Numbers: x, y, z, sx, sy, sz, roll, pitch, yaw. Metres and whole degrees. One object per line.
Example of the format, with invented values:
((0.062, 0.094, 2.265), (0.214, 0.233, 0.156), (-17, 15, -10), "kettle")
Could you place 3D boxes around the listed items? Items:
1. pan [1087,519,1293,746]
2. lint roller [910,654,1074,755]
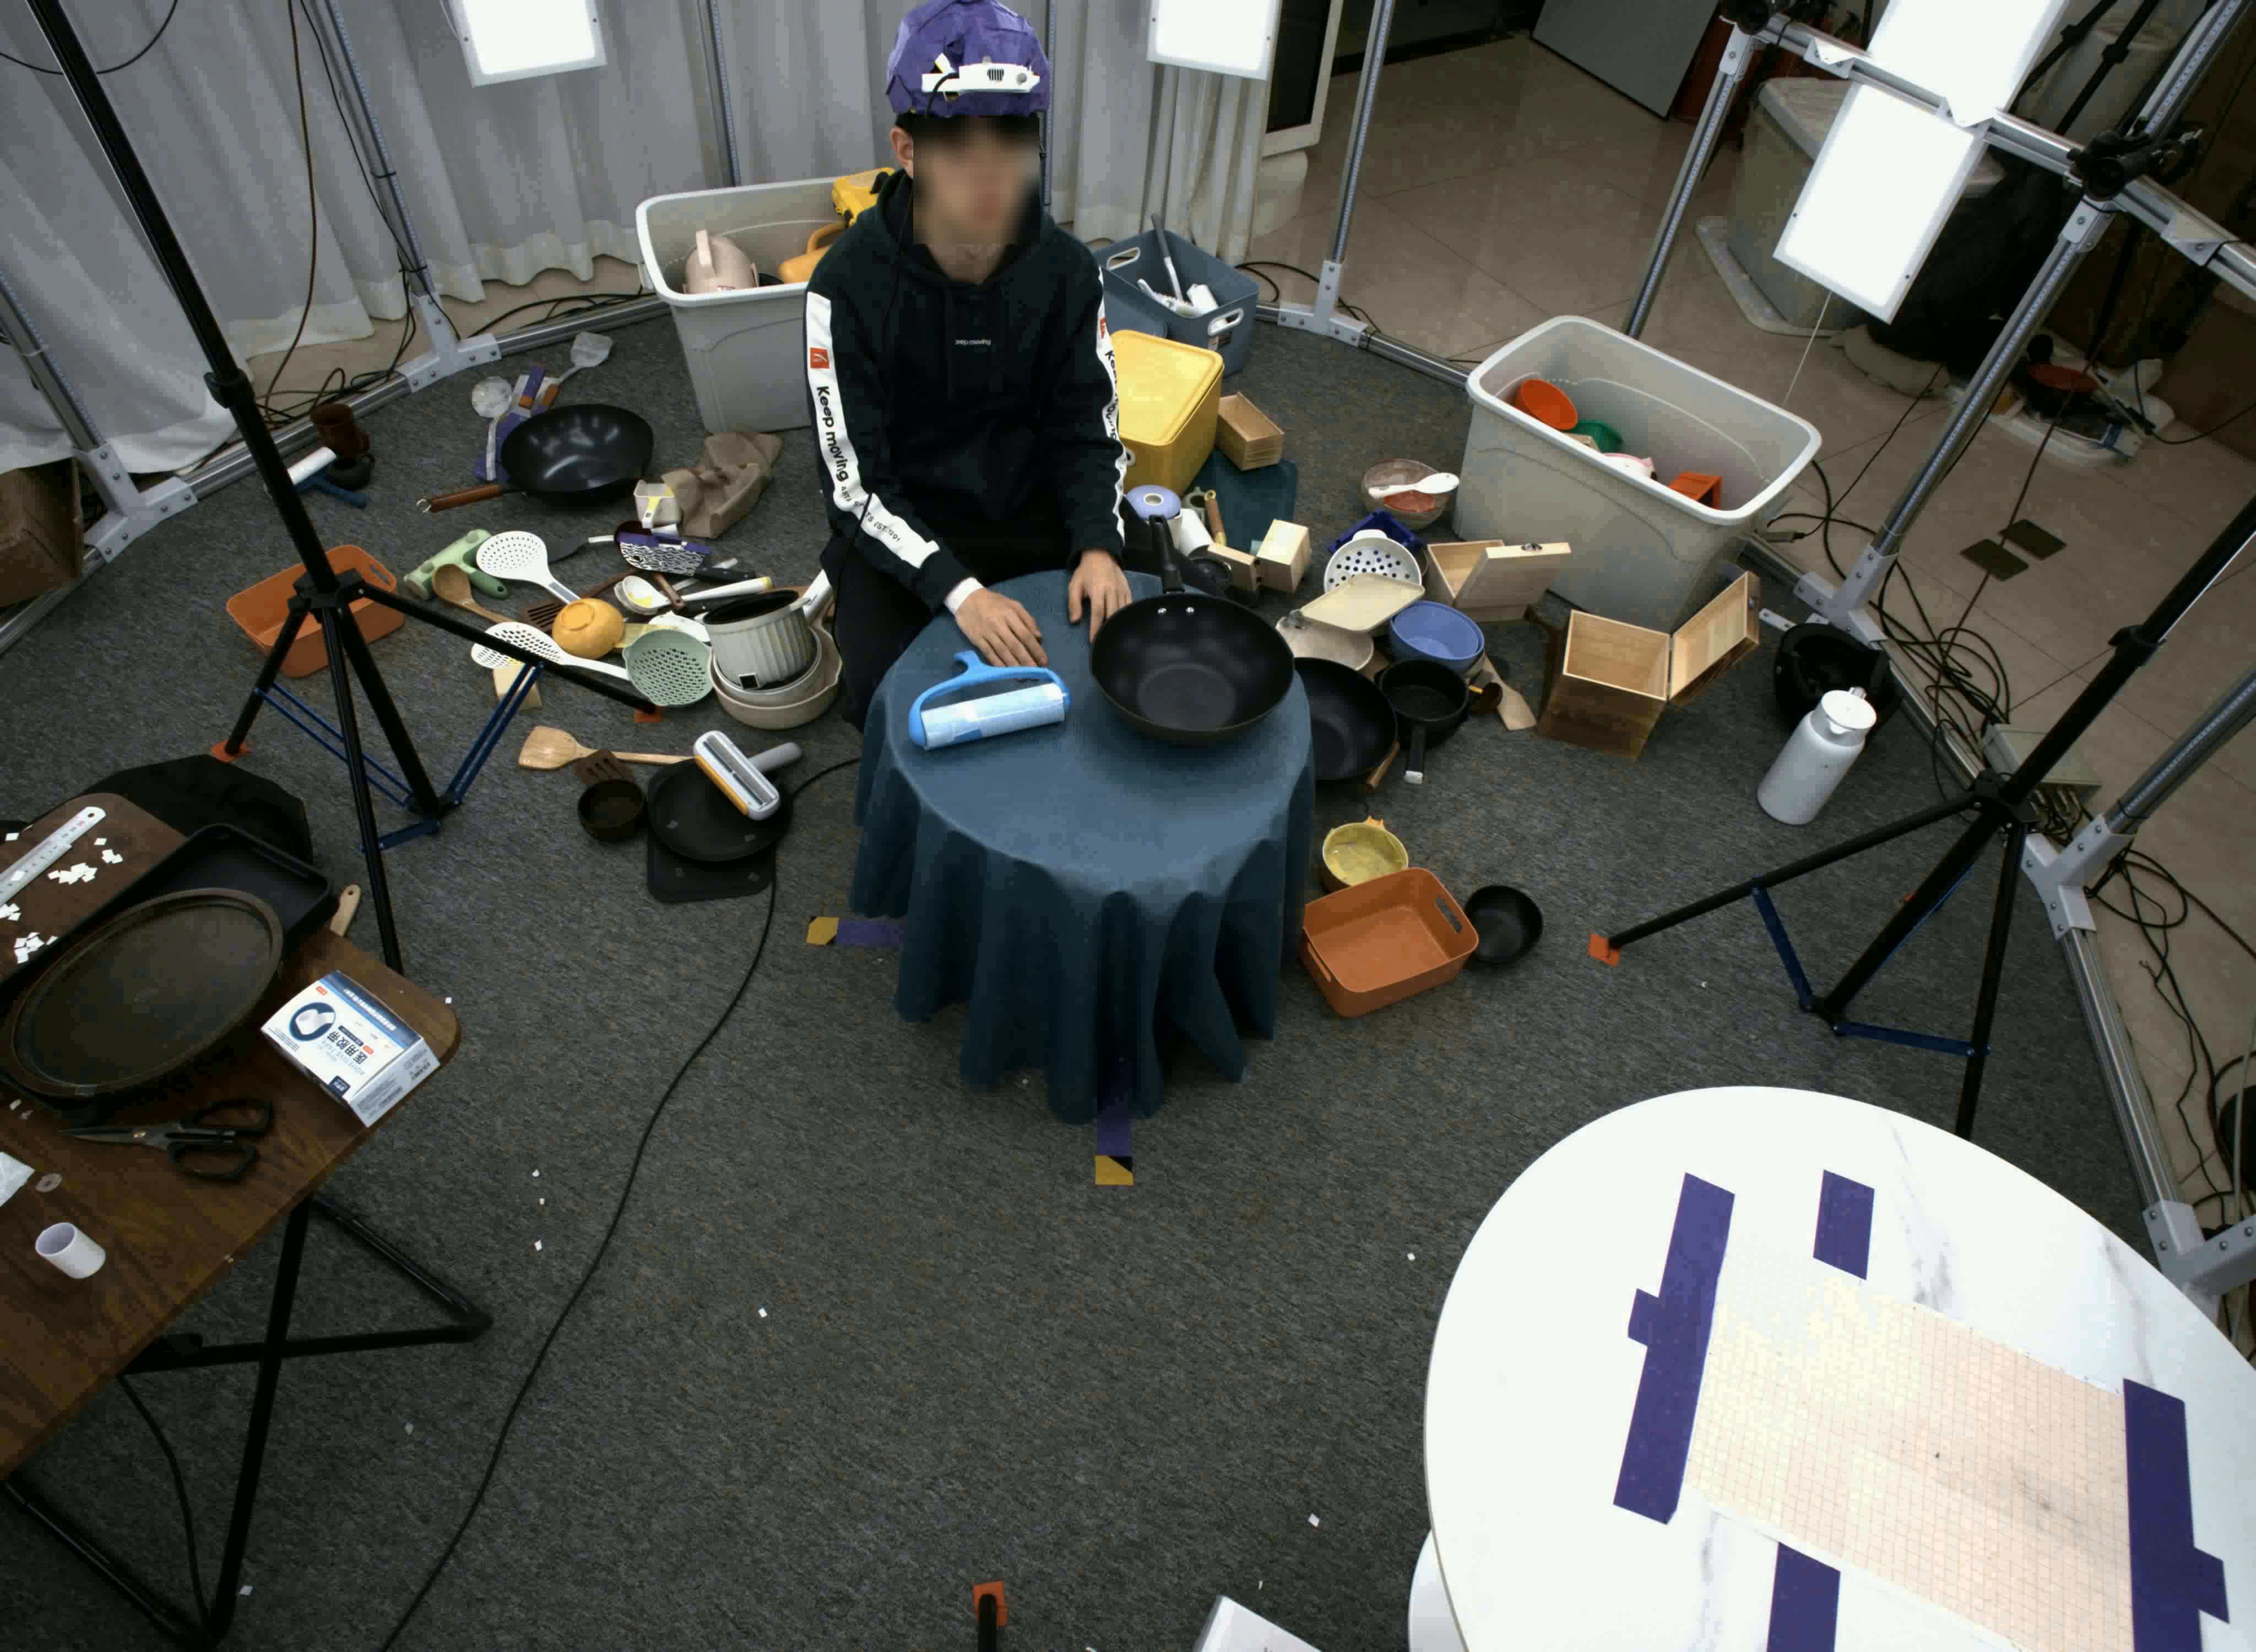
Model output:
((0.073, -0.275, 1.859), (0.288, 0.085, 0.475), (-3, 49, -7), "pan")
((-0.207, -0.192, 1.785), (0.229, 0.066, 0.184), (-18, 54, -16), "lint roller")
